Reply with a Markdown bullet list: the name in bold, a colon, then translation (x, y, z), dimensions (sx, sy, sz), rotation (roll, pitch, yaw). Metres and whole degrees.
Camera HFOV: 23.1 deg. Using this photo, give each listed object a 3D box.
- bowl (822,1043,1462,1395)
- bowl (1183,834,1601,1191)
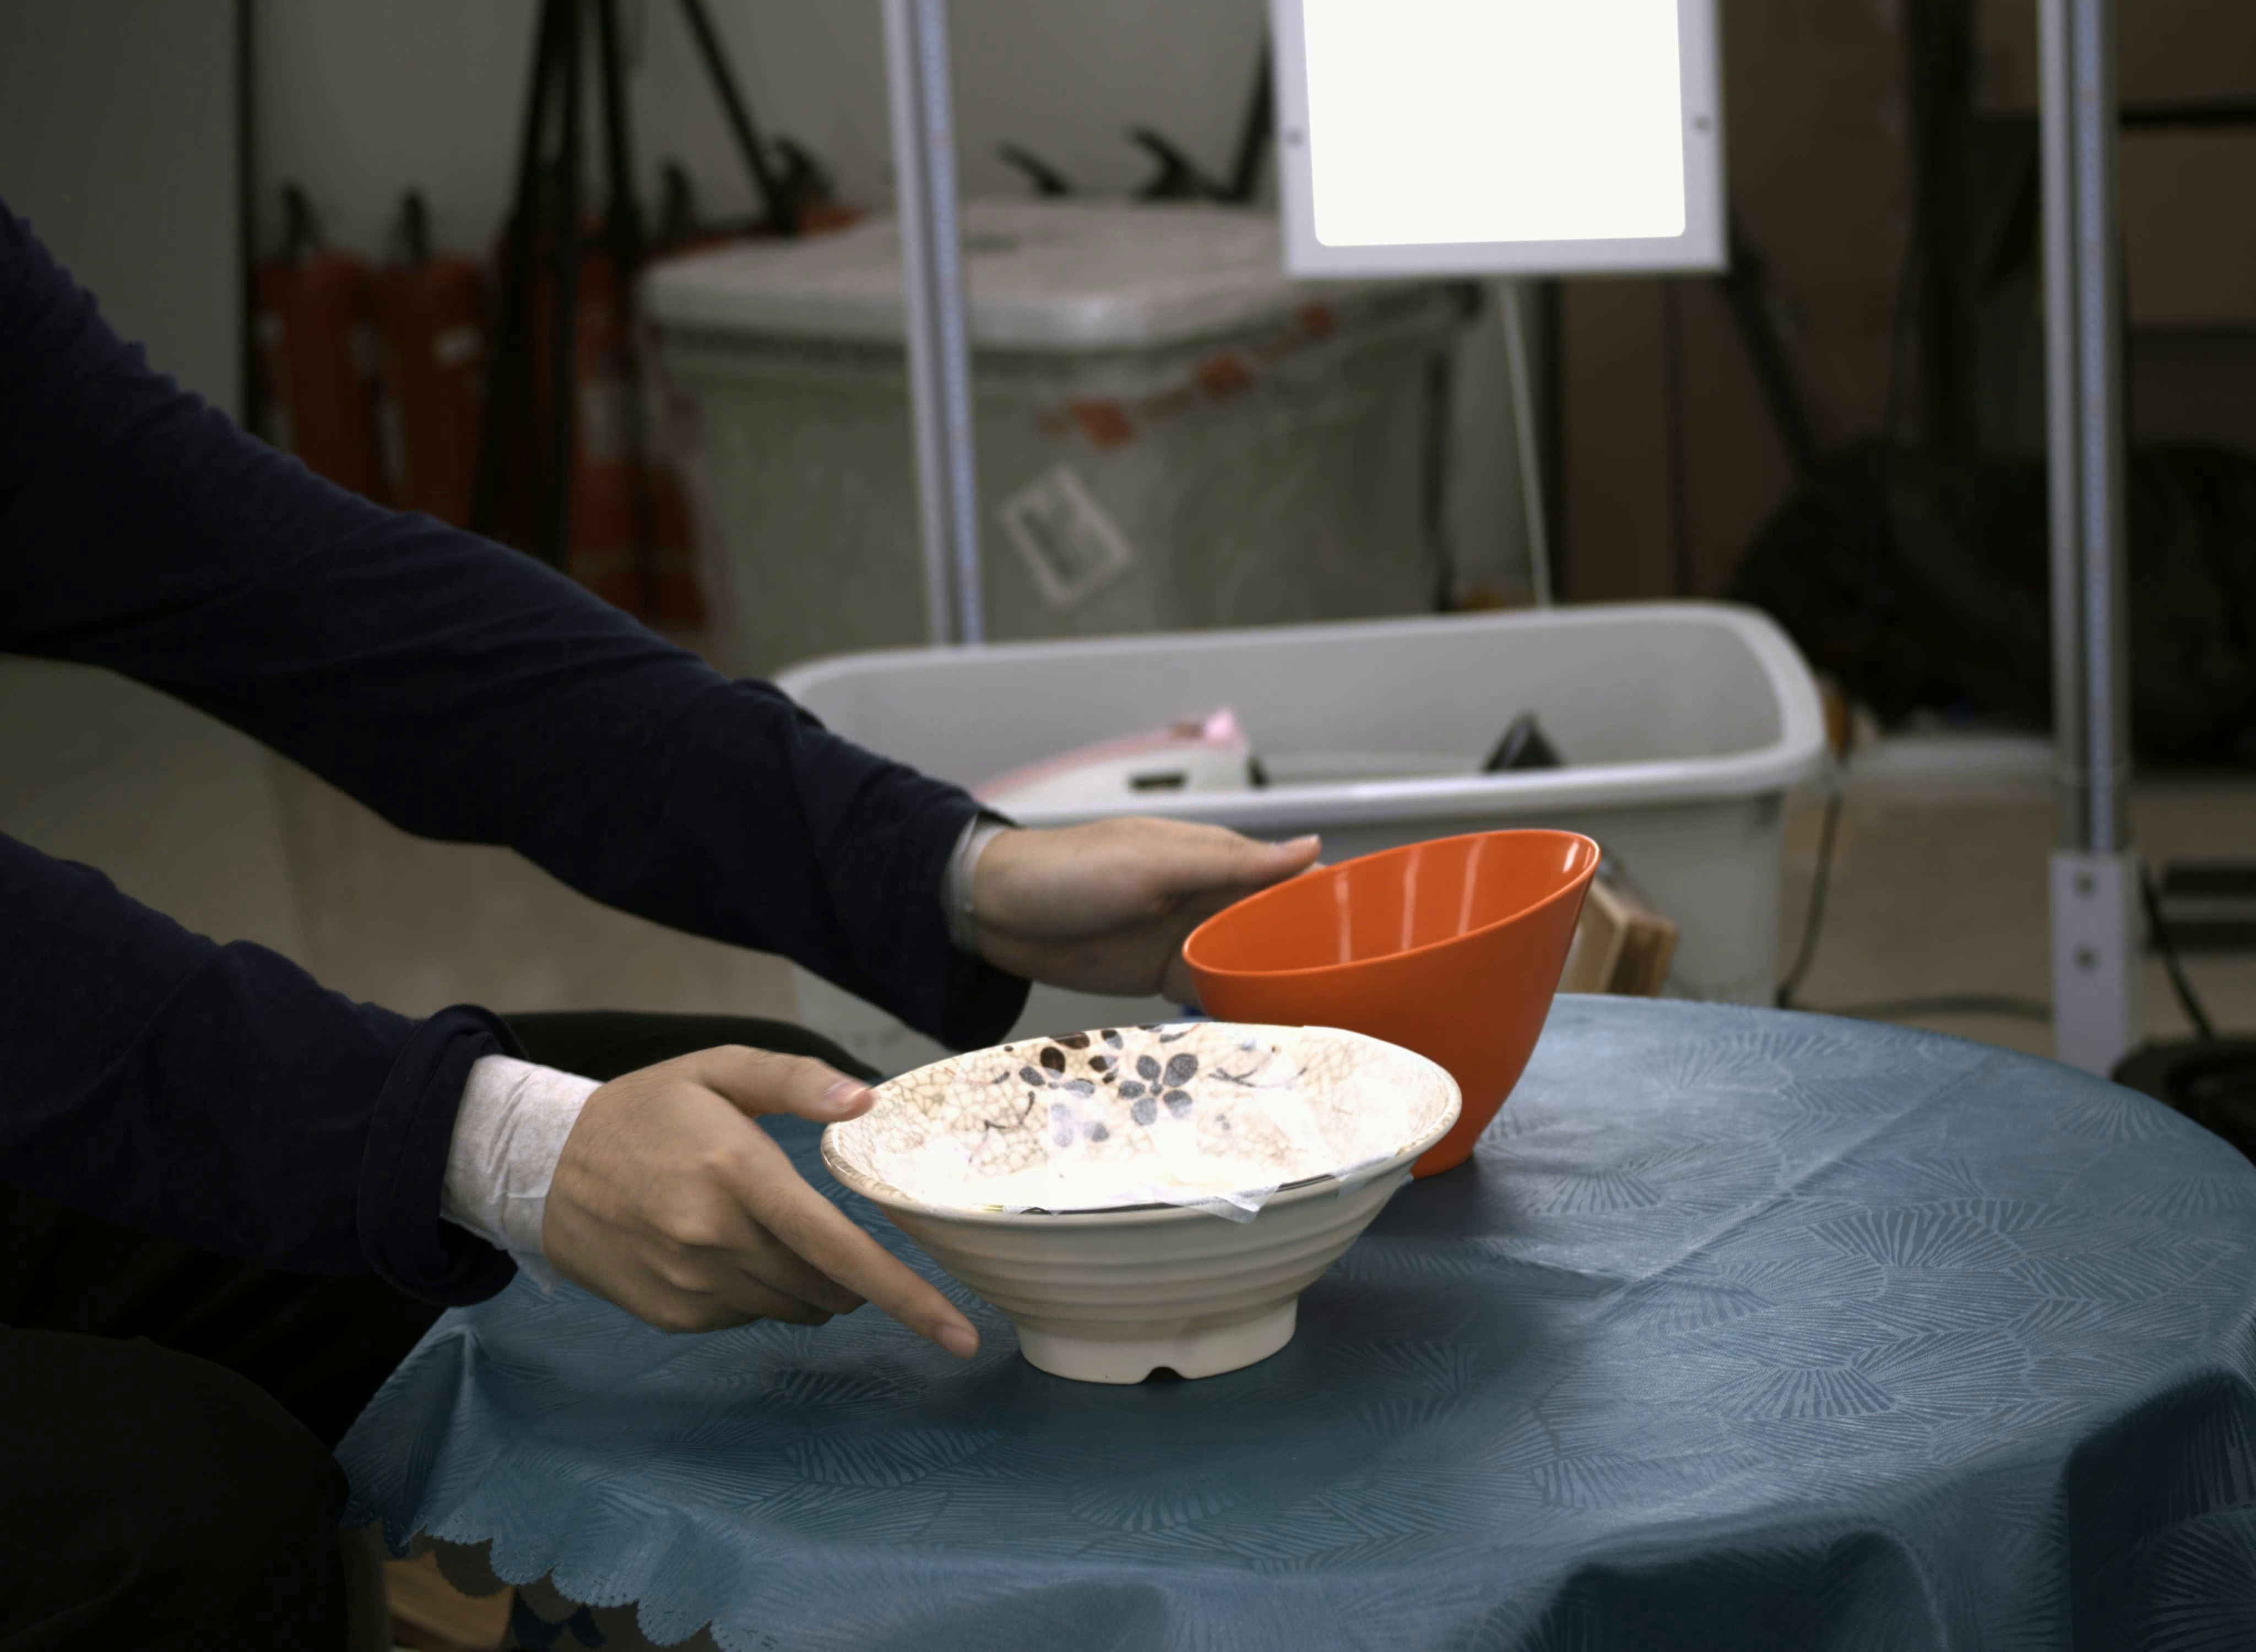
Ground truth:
- **bowl**: translation (0.009, 0.130, 1.738), dimensions (0.203, 0.078, 0.204), rotation (-8, 10, 0)
- **bowl**: translation (0.095, 0.067, 1.904), dimensions (0.147, 0.105, 0.148), rotation (-7, 13, 0)
